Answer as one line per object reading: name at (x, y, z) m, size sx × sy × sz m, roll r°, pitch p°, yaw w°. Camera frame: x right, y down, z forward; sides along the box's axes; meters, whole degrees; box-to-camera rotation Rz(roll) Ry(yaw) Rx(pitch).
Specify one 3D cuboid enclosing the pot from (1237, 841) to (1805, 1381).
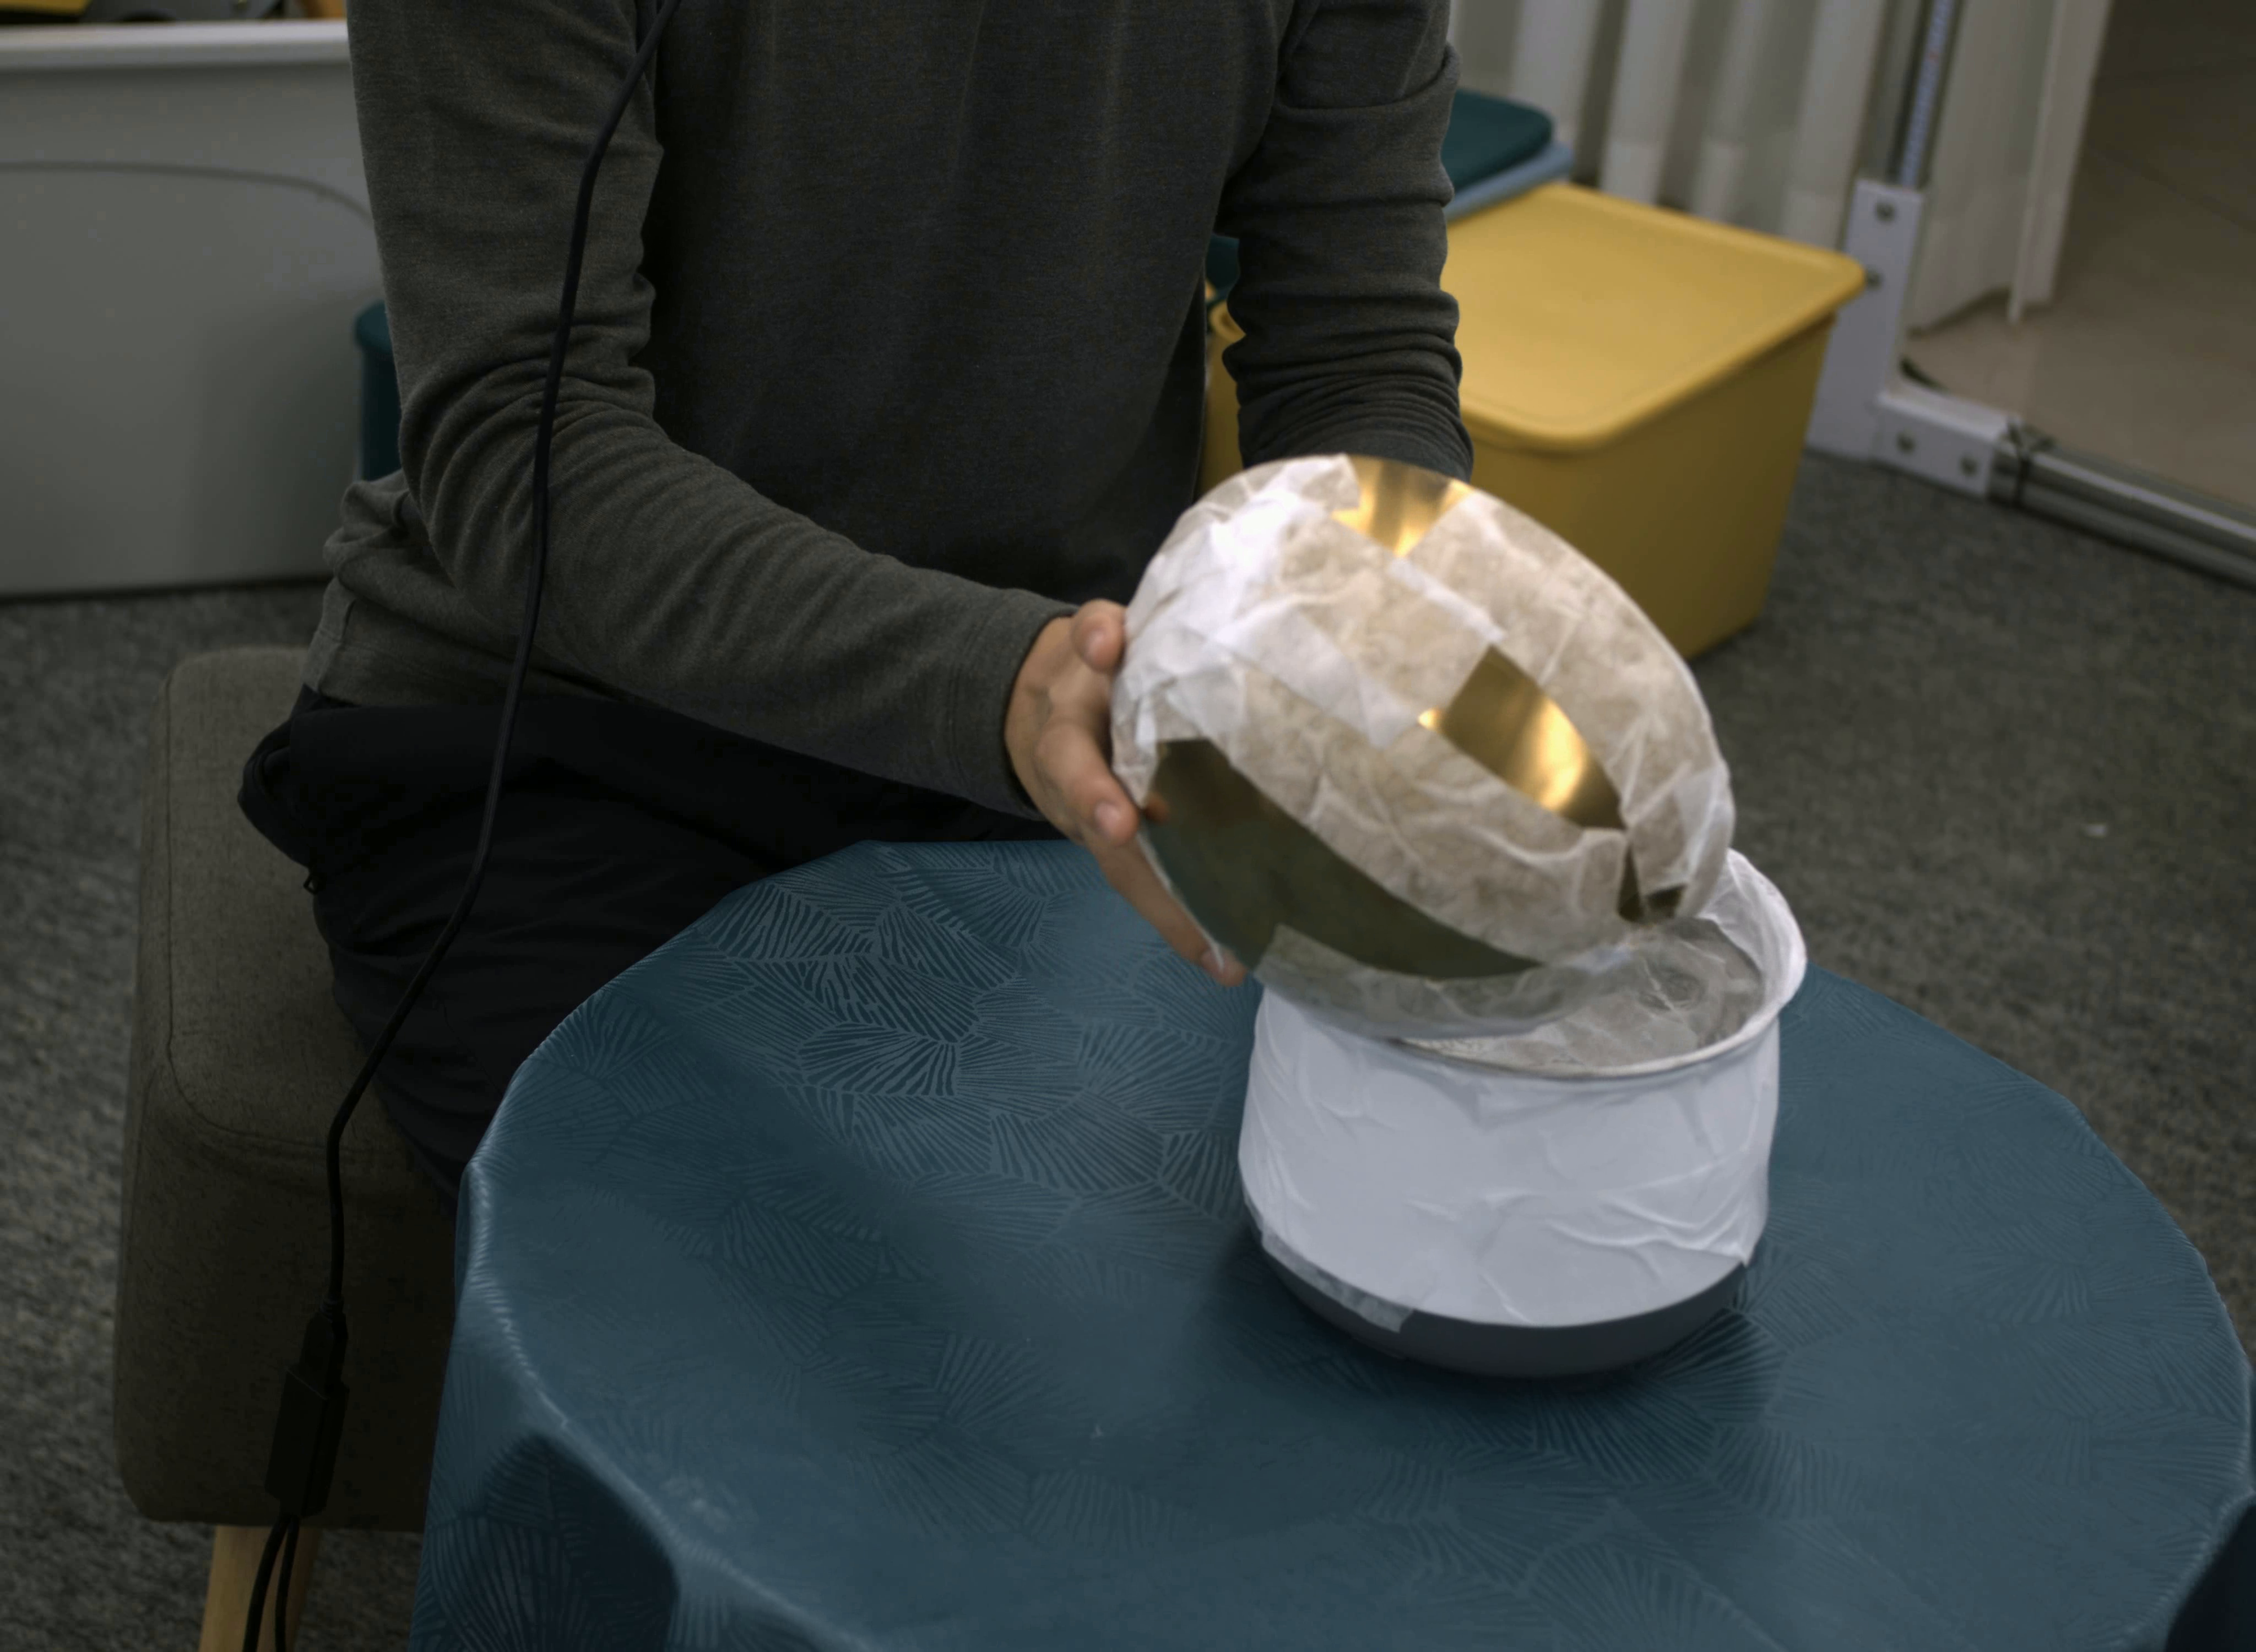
pot at (0.121, 0.072, 1.770) m, size 0.178 × 0.136 × 0.235 m, roll -2°, pitch 30°, yaw -10°

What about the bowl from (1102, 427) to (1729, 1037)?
bowl at (0.069, -0.007, 1.606) m, size 0.215 × 0.213 × 0.095 m, roll 20°, pitch 49°, yaw 24°
